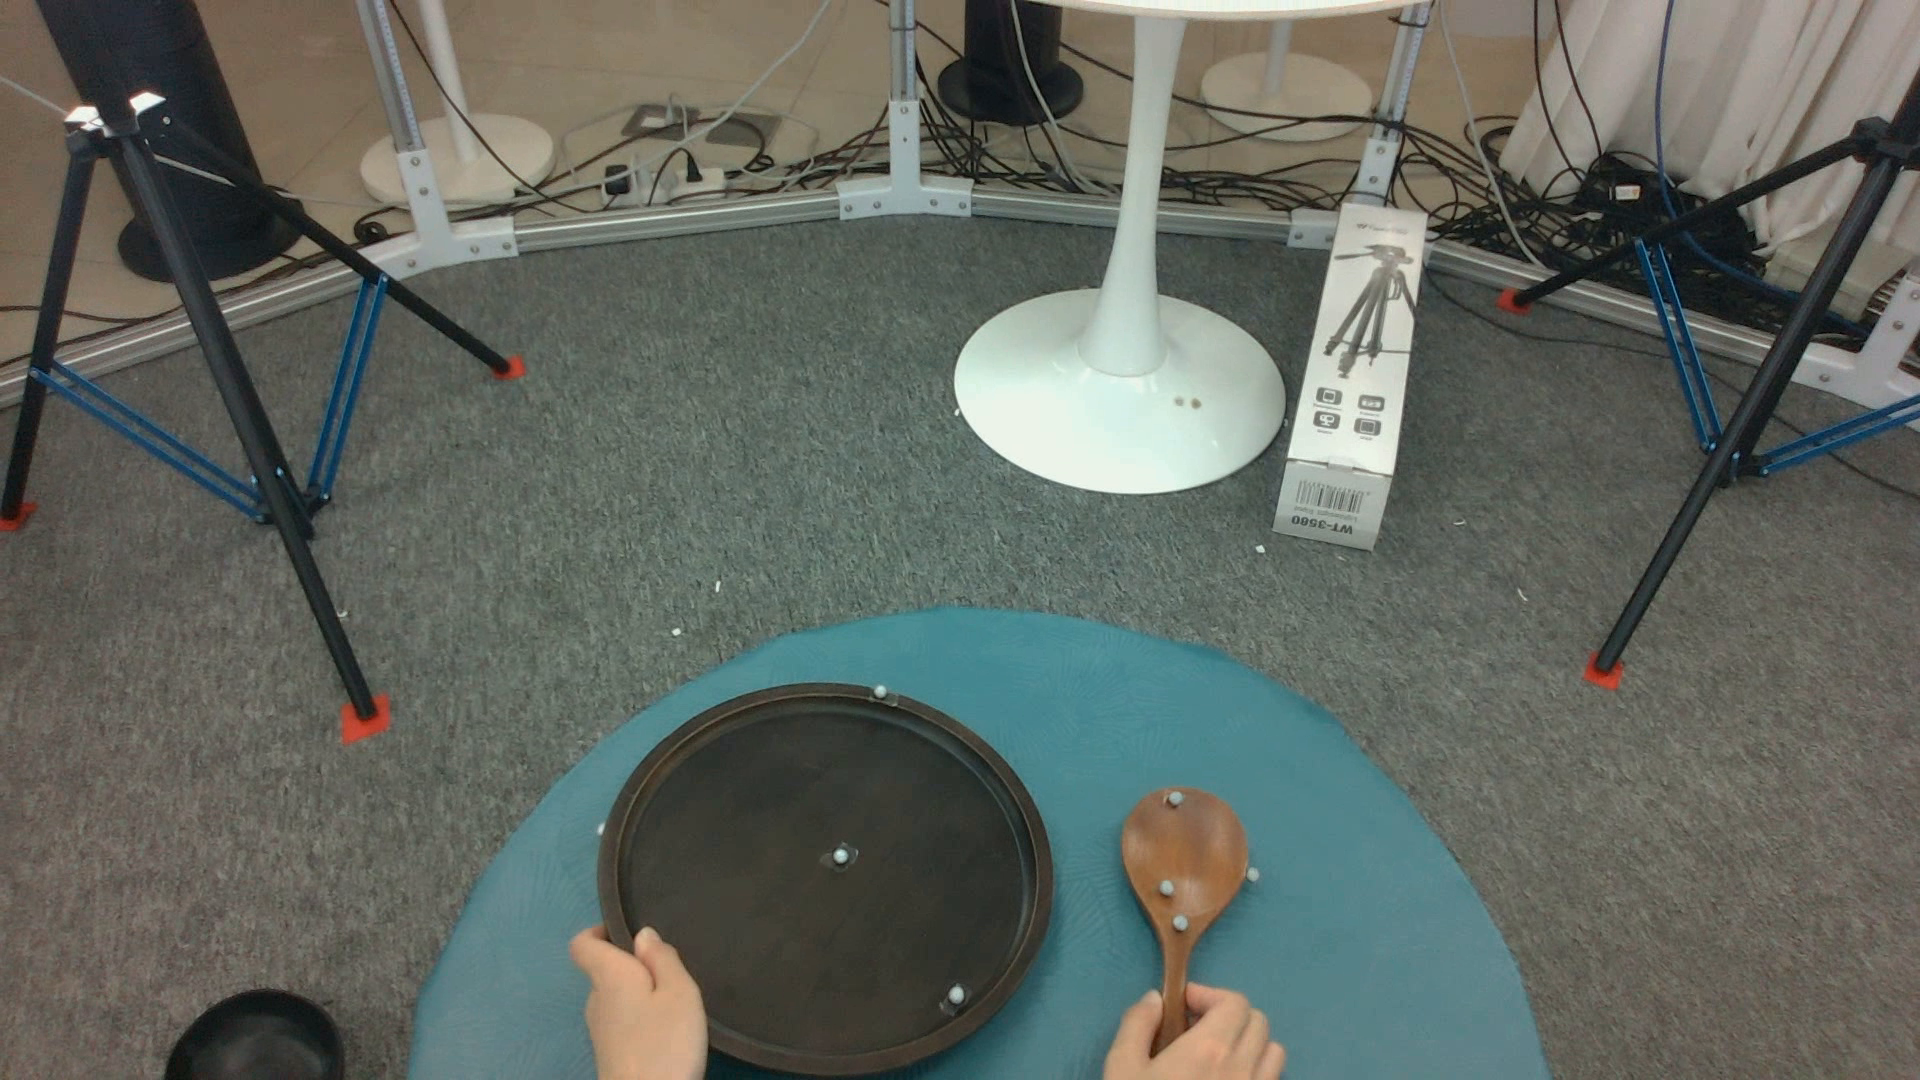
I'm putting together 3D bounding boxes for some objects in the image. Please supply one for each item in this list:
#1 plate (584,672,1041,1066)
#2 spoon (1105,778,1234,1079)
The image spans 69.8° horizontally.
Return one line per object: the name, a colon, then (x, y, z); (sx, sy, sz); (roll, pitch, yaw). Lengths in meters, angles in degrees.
plate: (-0.080, 0.176, 0.773); (0.255, 0.029, 0.256); (6, 41, -5)
spoon: (0.112, 0.218, 0.757); (0.075, 0.017, 0.217); (8, 41, 6)
